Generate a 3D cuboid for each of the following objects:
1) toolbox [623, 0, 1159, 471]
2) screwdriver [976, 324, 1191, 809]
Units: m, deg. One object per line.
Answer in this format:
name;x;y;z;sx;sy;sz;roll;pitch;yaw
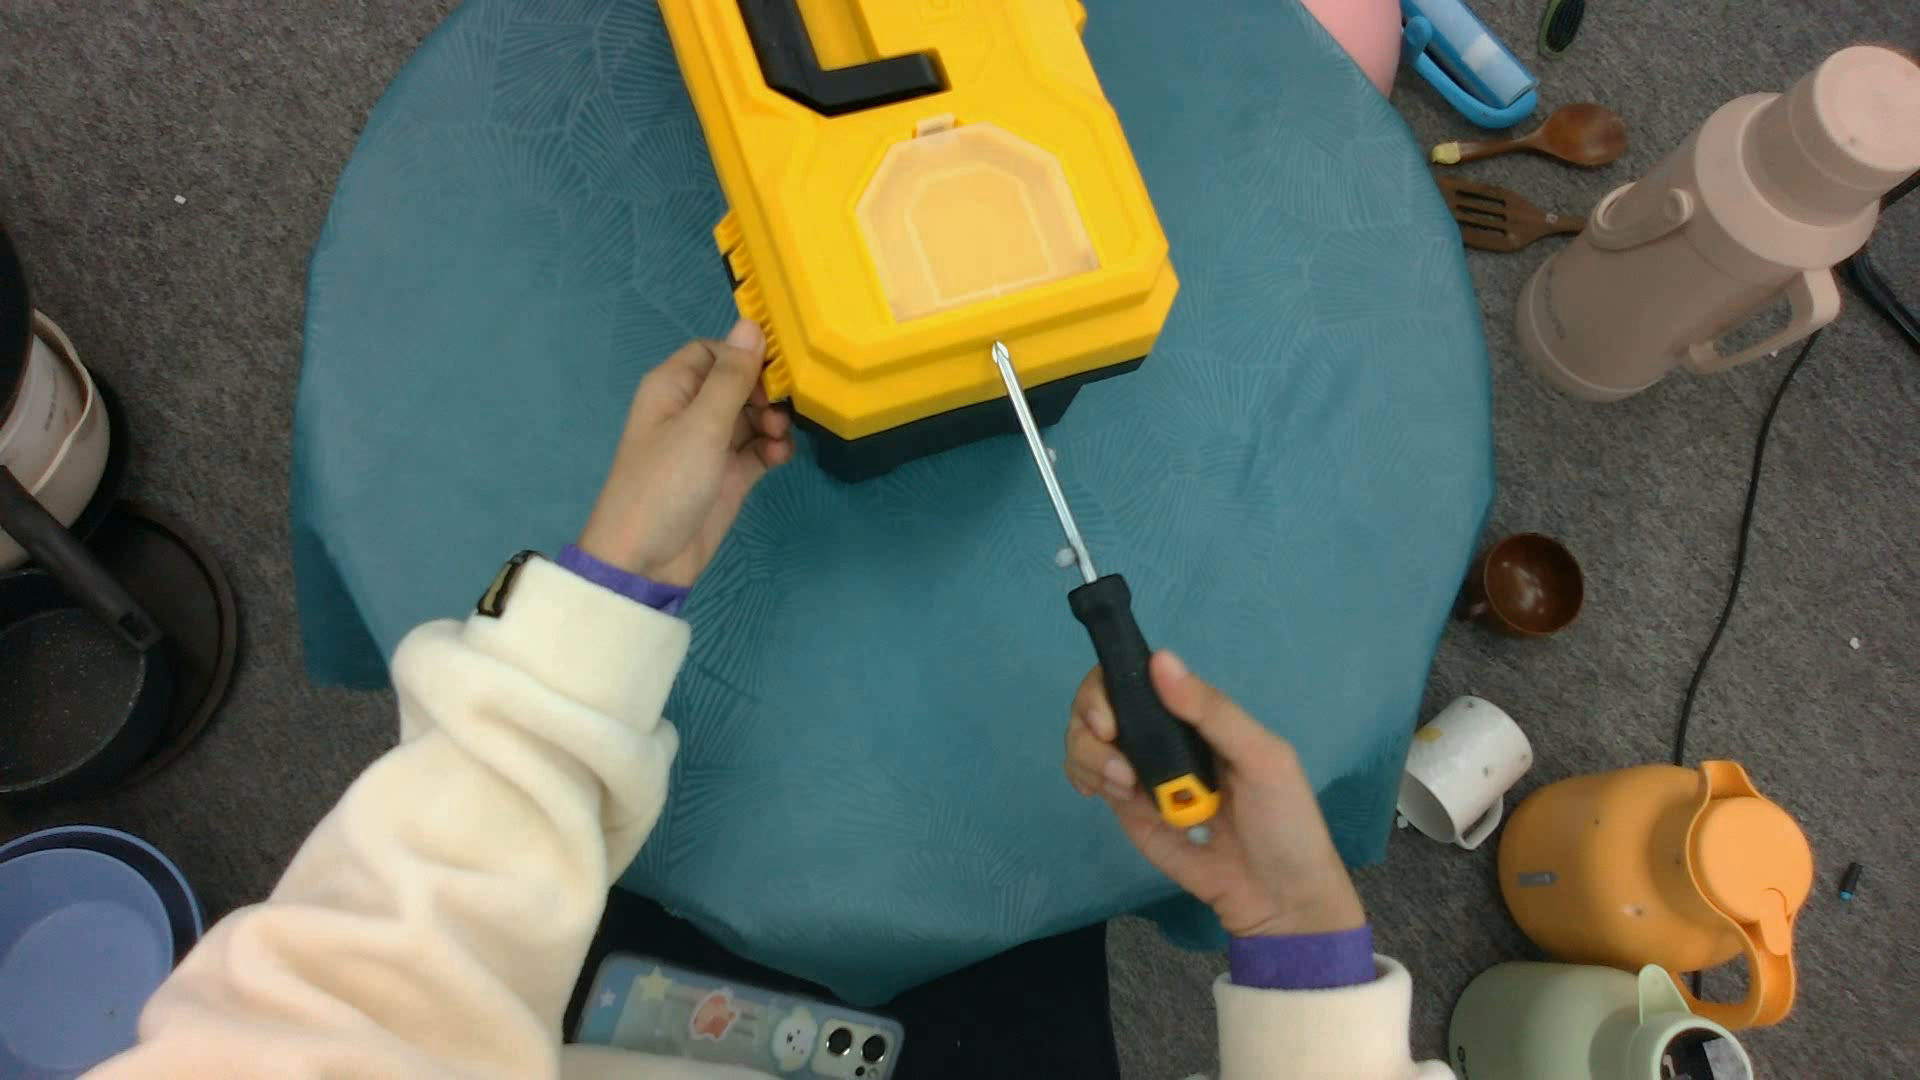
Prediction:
toolbox;-0.055;-0.216;0.634;0.181;0.172;0.352;-17;77;-12
screwdriver;0.044;0.009;0.528;0.031;0.031;0.196;-19;83;-13
